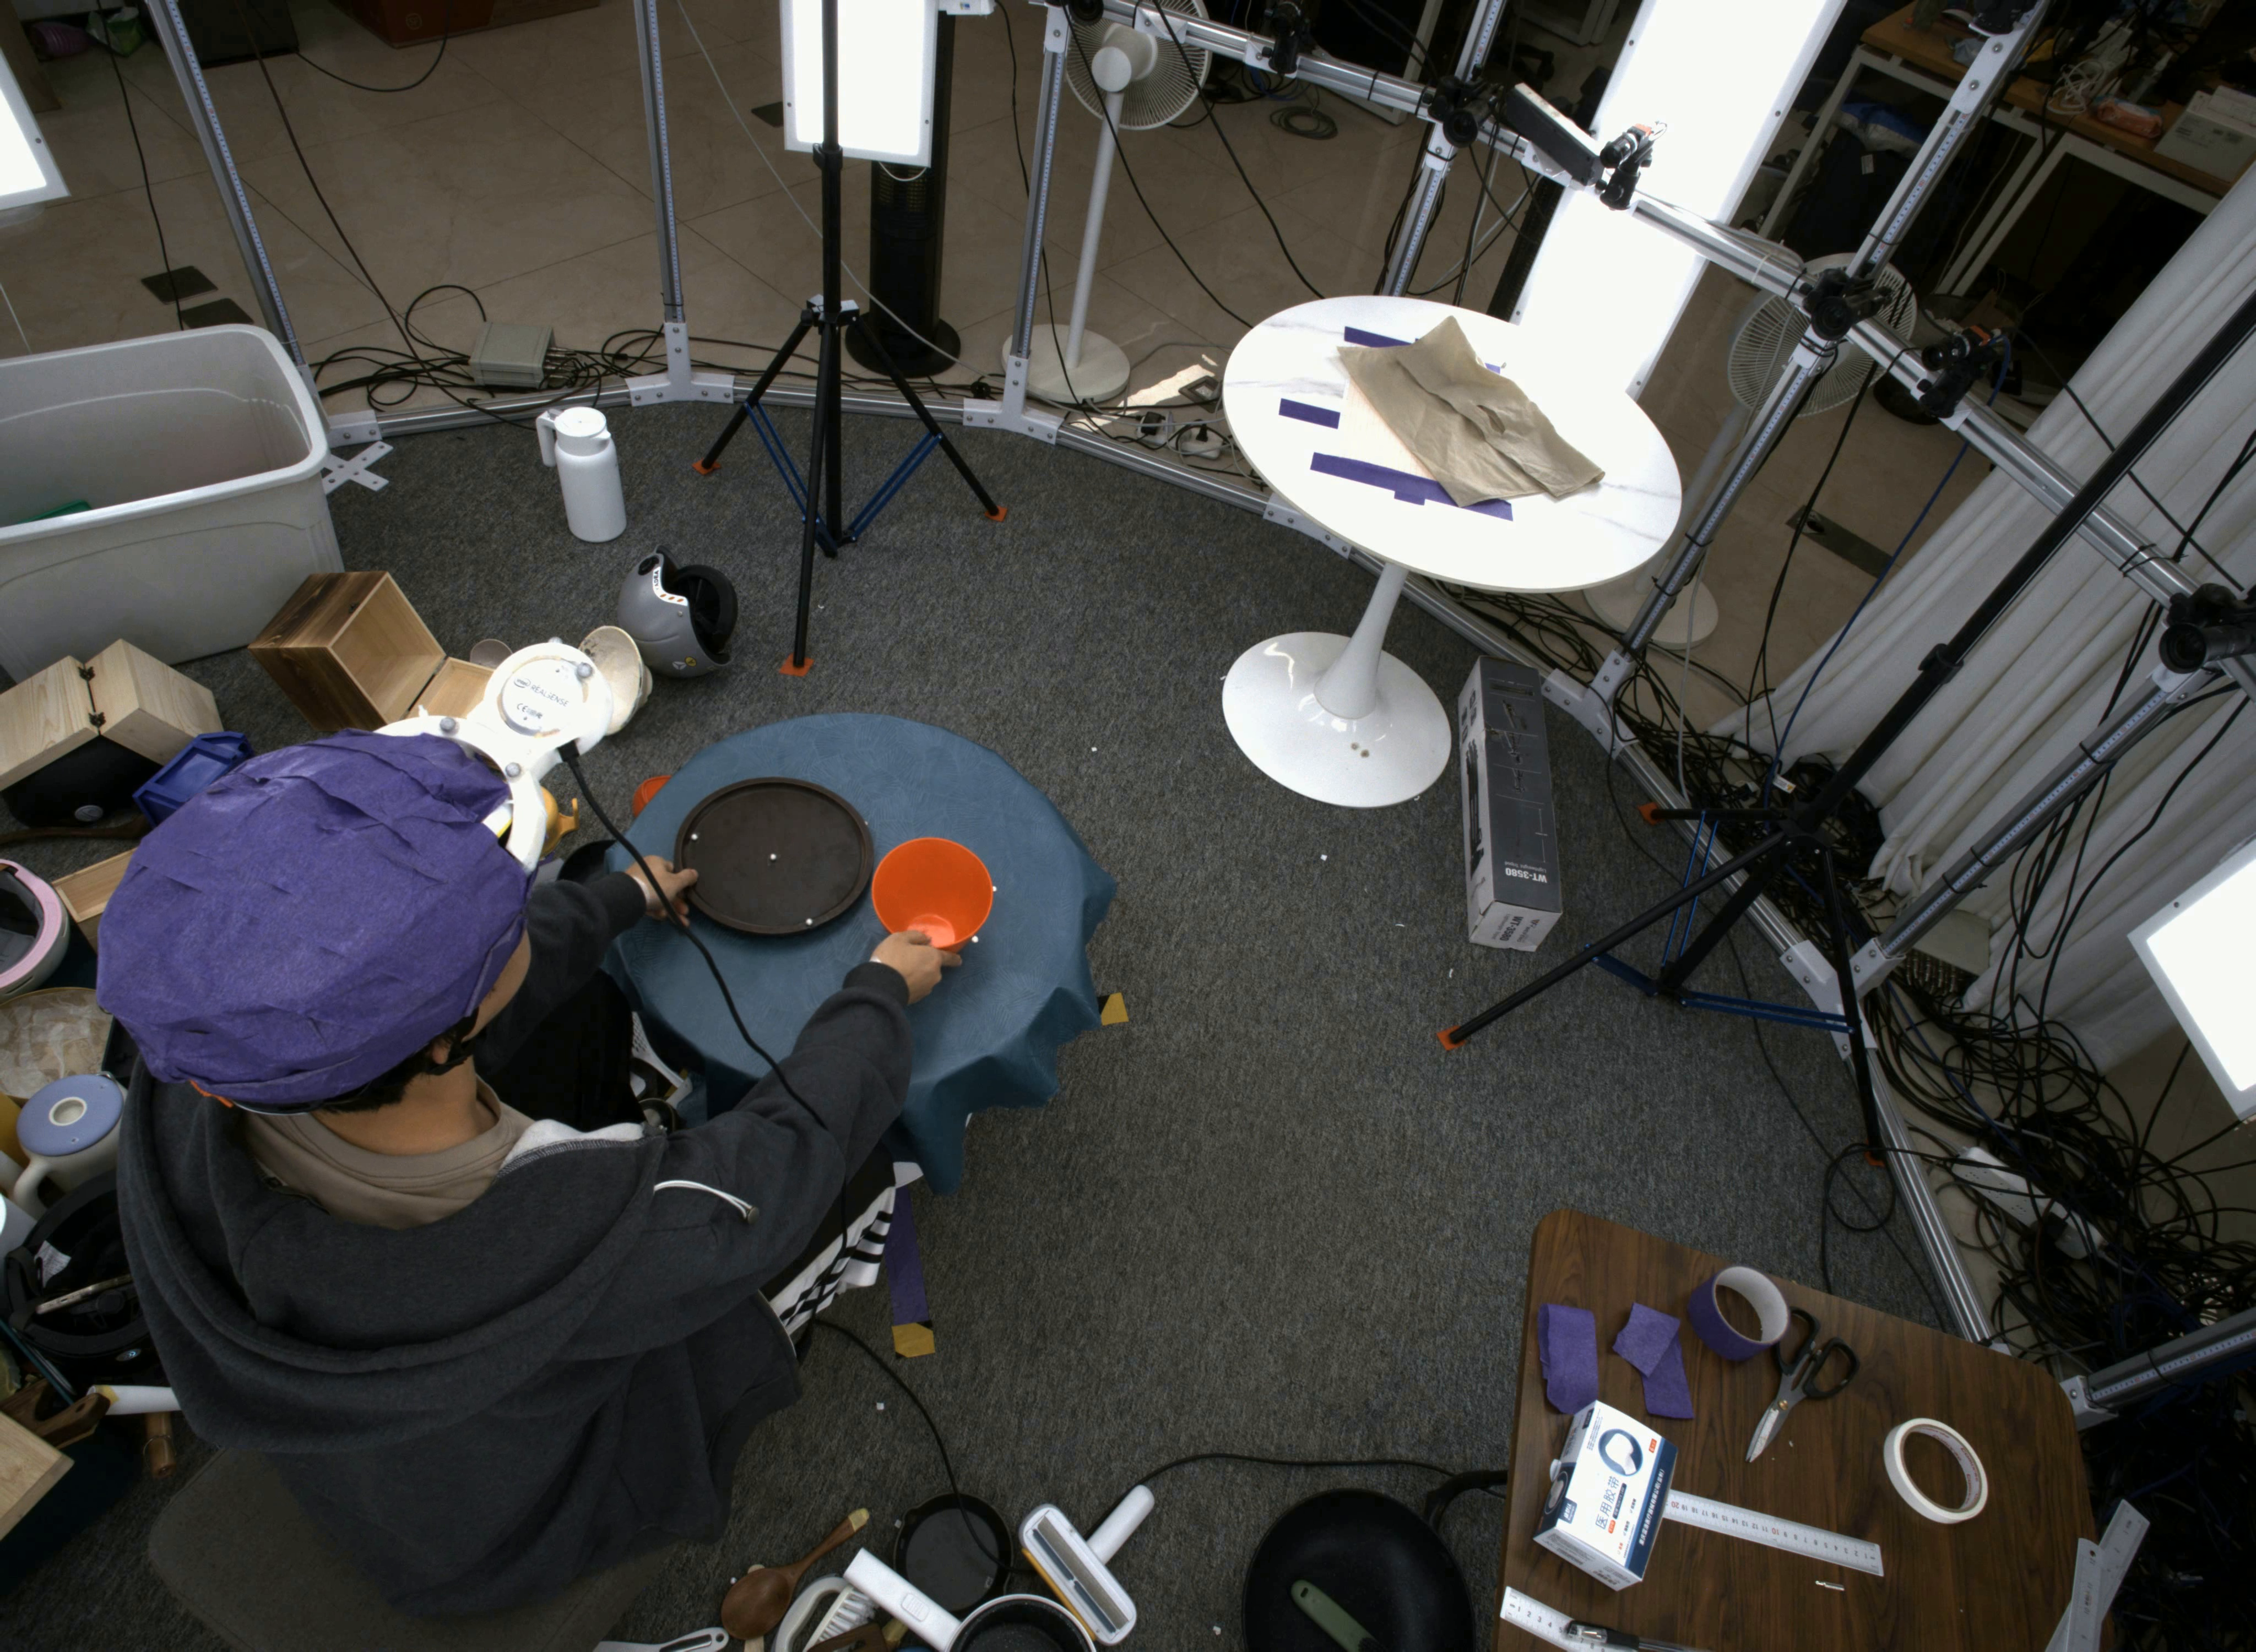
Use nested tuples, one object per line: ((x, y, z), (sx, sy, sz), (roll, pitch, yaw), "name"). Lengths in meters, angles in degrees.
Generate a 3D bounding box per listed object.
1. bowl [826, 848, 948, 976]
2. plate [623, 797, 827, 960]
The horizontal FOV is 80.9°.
((-0.299, 0.117, 1.609), (0.148, 0.107, 0.145), (8, 51, -9), "bowl")
((-0.511, 0.062, 1.641), (0.255, 0.029, 0.250), (10, 52, -11), "plate")
